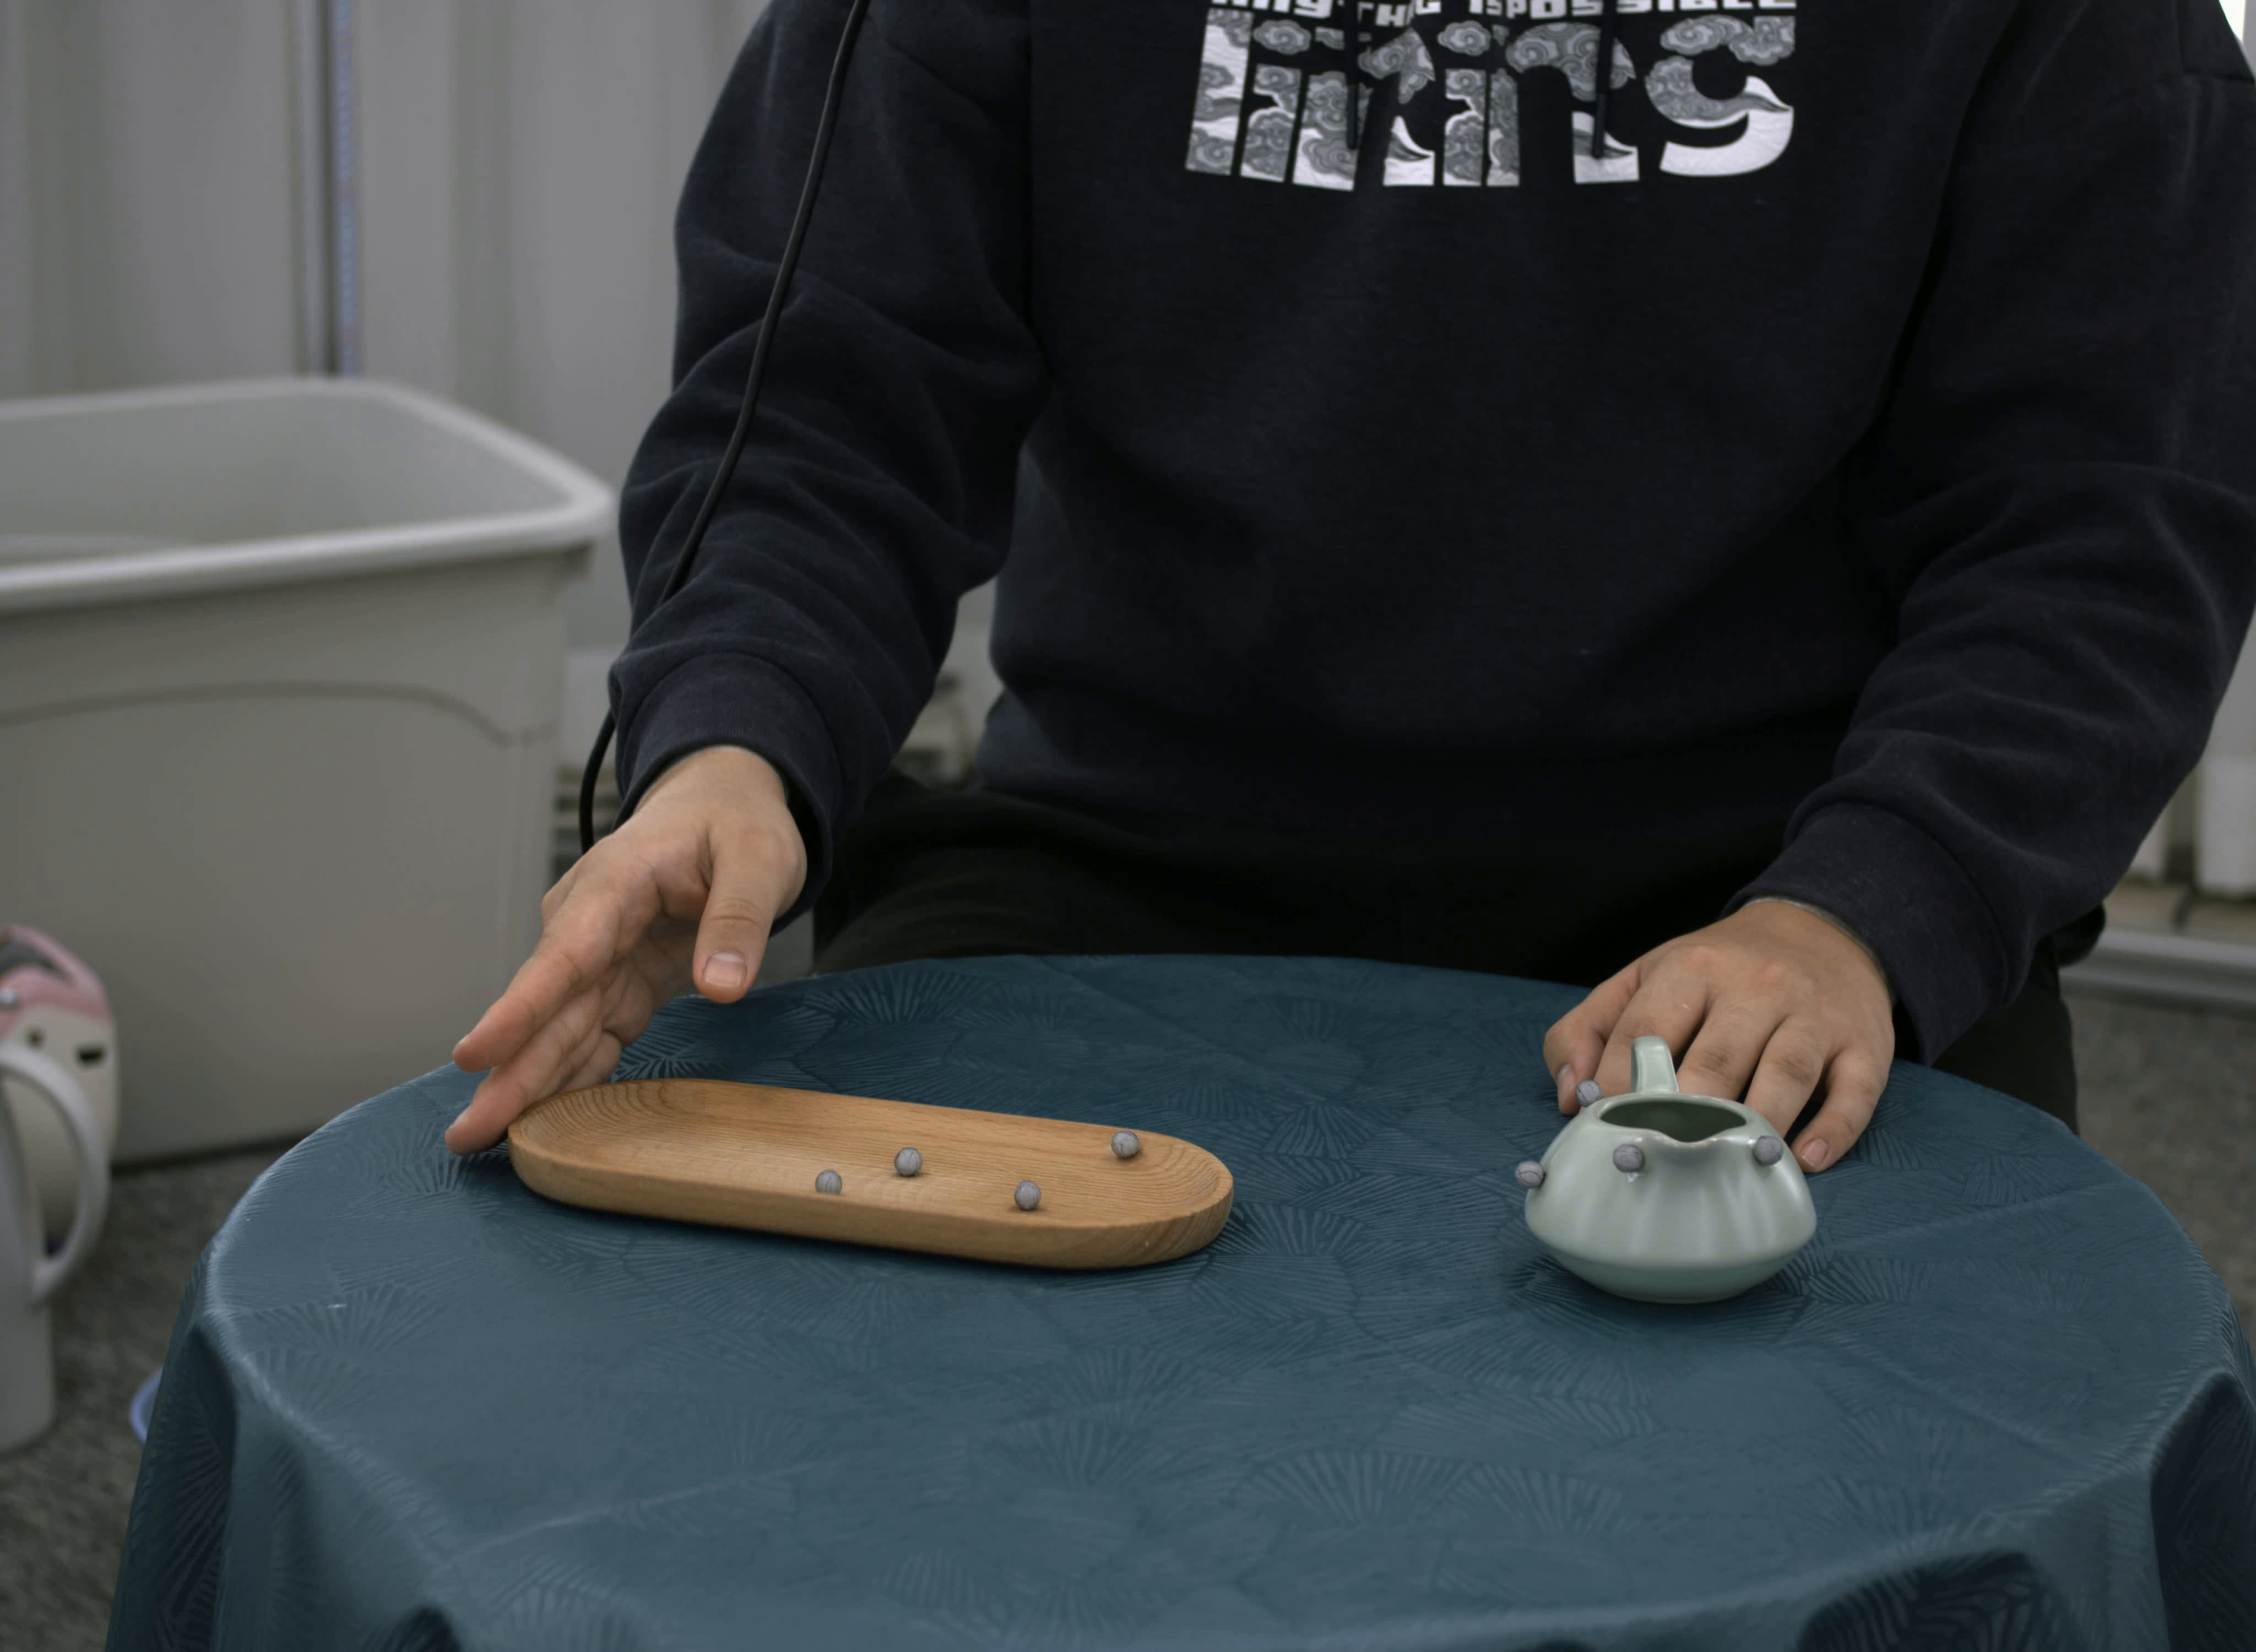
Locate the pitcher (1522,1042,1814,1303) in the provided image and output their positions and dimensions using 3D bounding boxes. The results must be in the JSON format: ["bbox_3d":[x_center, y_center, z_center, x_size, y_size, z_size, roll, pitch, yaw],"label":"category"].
[{"bbox_3d":[0.159,0.103,1.563,0.086,0.061,0.107,1,13,-4],"label":"pitcher"}]

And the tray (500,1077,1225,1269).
[{"bbox_3d":[-0.082,0.106,1.615,0.229,0.020,0.102,4,16,17],"label":"tray"}]
